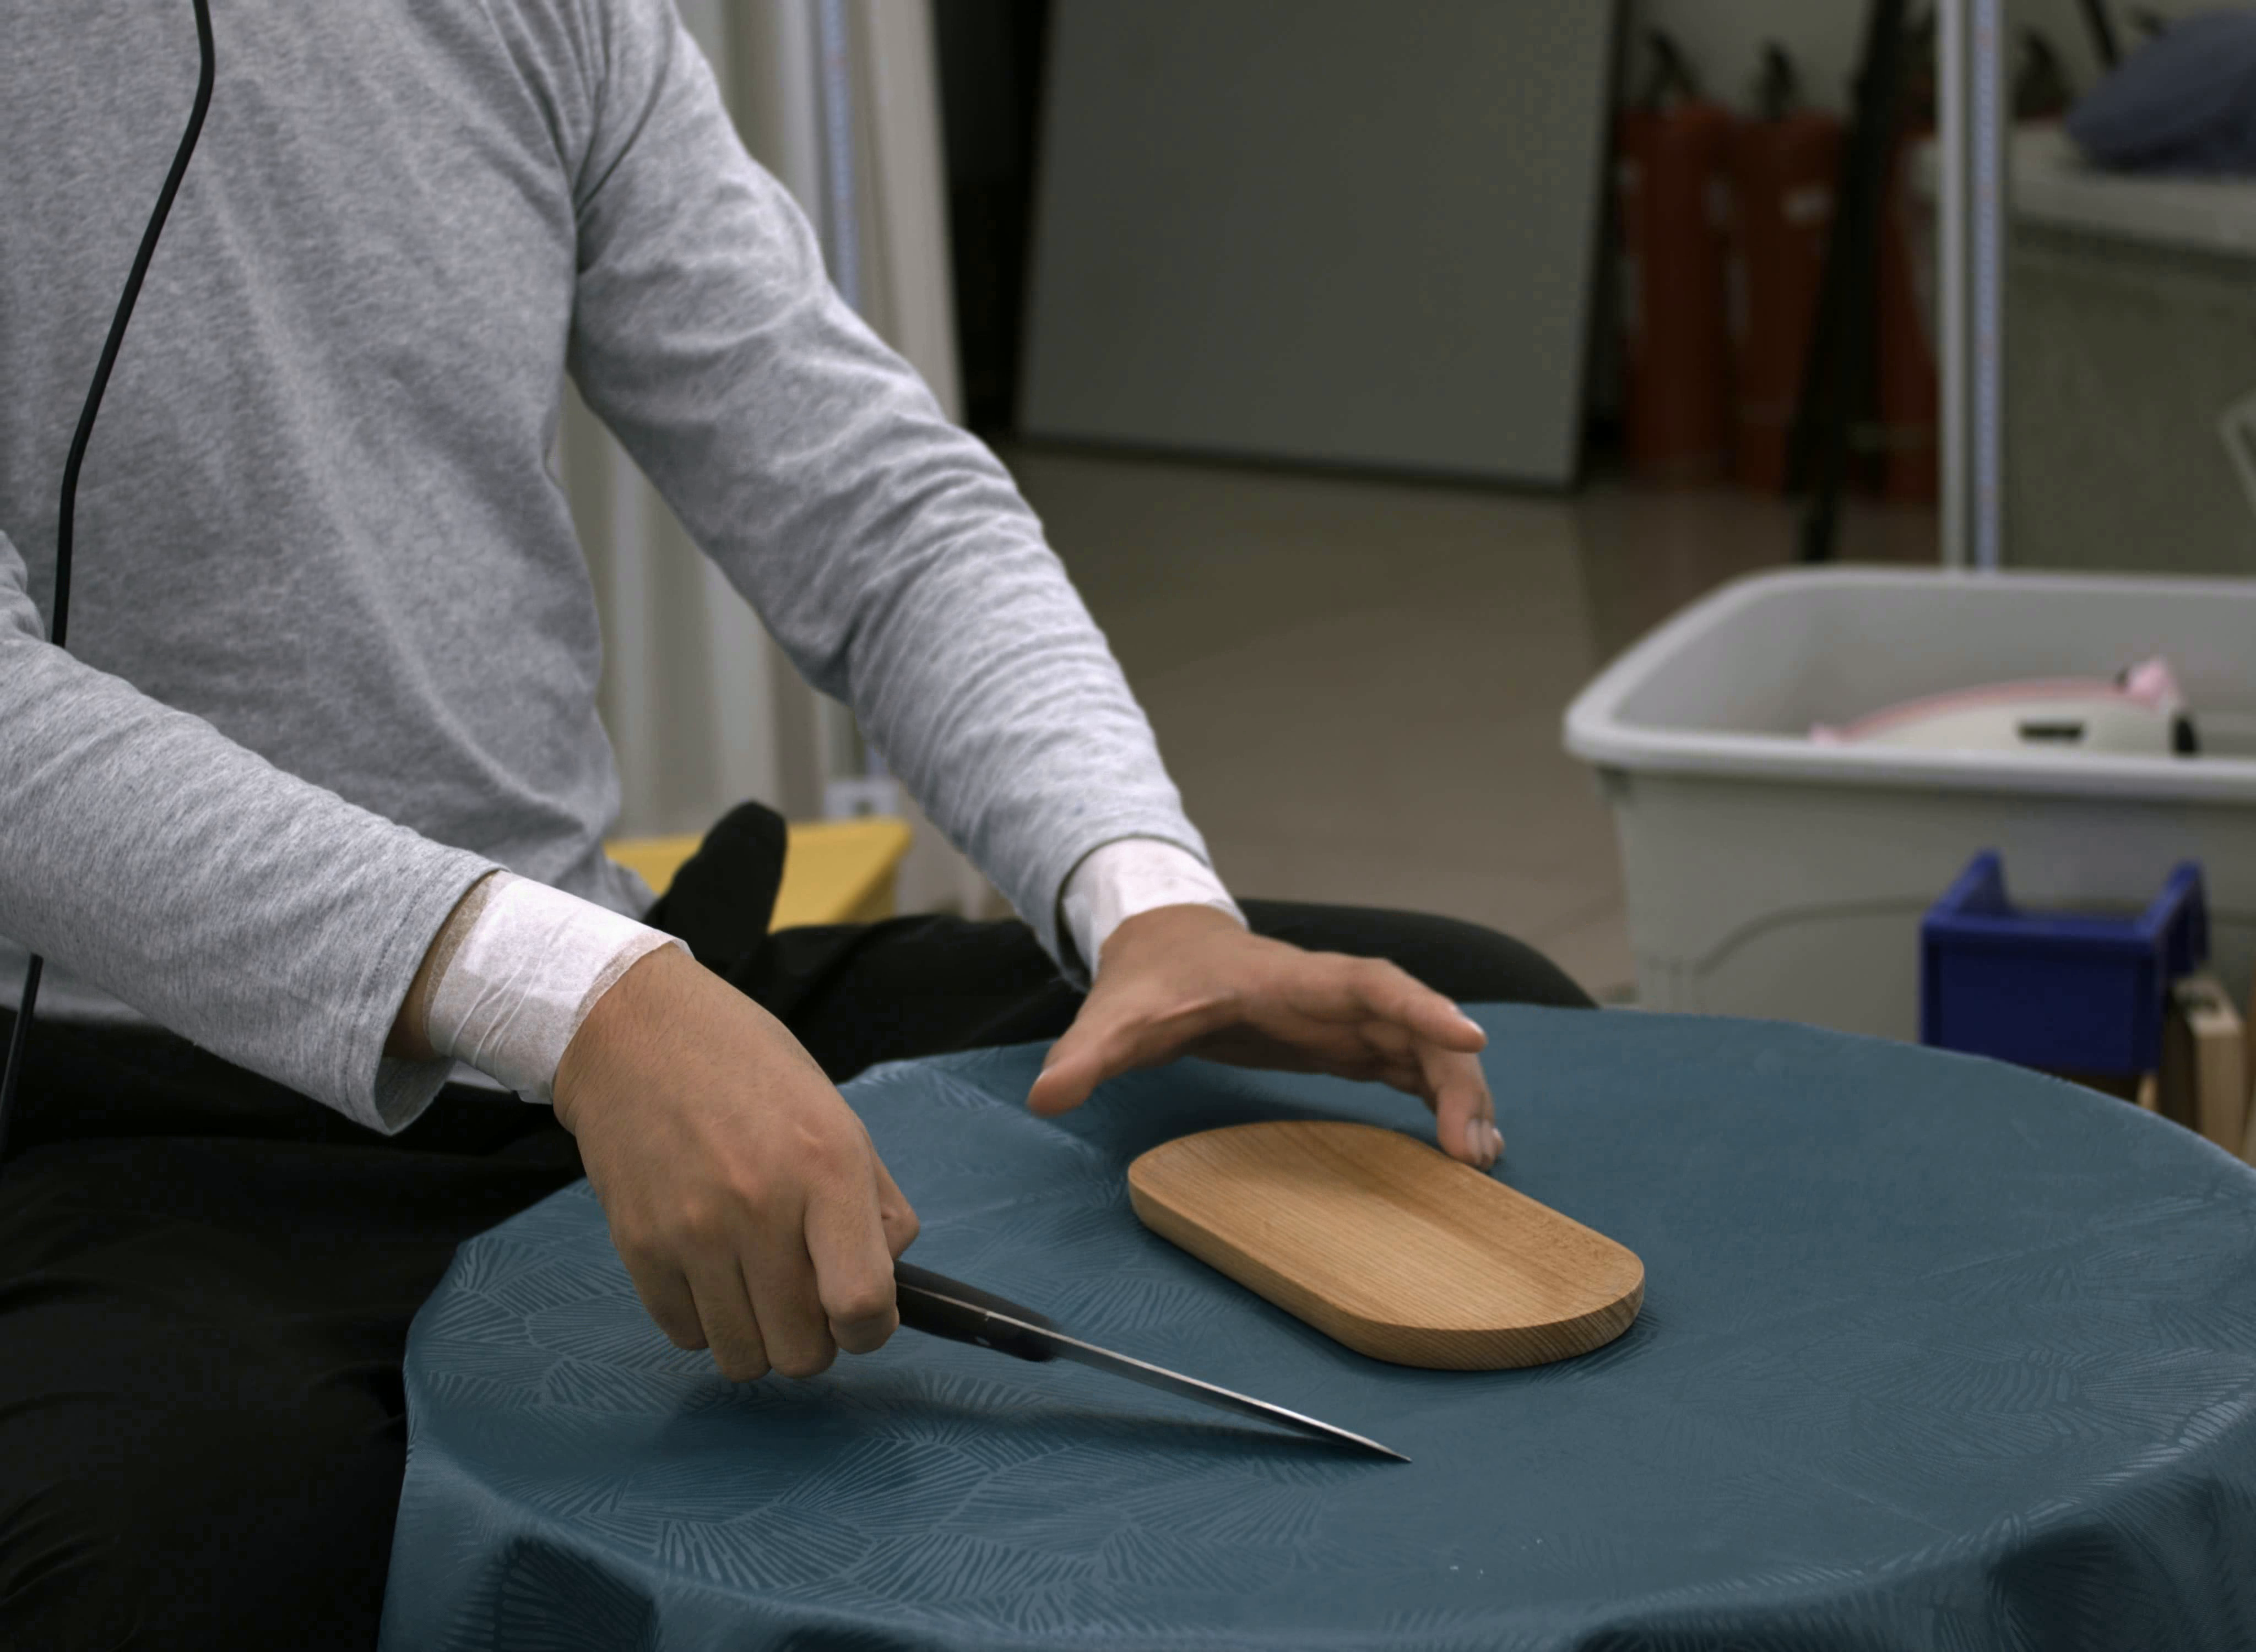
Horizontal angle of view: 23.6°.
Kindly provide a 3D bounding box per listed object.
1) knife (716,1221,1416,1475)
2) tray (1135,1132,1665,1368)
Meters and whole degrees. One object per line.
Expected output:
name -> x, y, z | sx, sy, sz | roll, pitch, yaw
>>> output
knife -> -0.022, 0.152, 1.567 | 0.239, 0.016, 0.024 | 16, -20, 28
tray -> 0.082, 0.131, 1.681 | 0.099, 0.020, 0.233 | -11, 16, -25
